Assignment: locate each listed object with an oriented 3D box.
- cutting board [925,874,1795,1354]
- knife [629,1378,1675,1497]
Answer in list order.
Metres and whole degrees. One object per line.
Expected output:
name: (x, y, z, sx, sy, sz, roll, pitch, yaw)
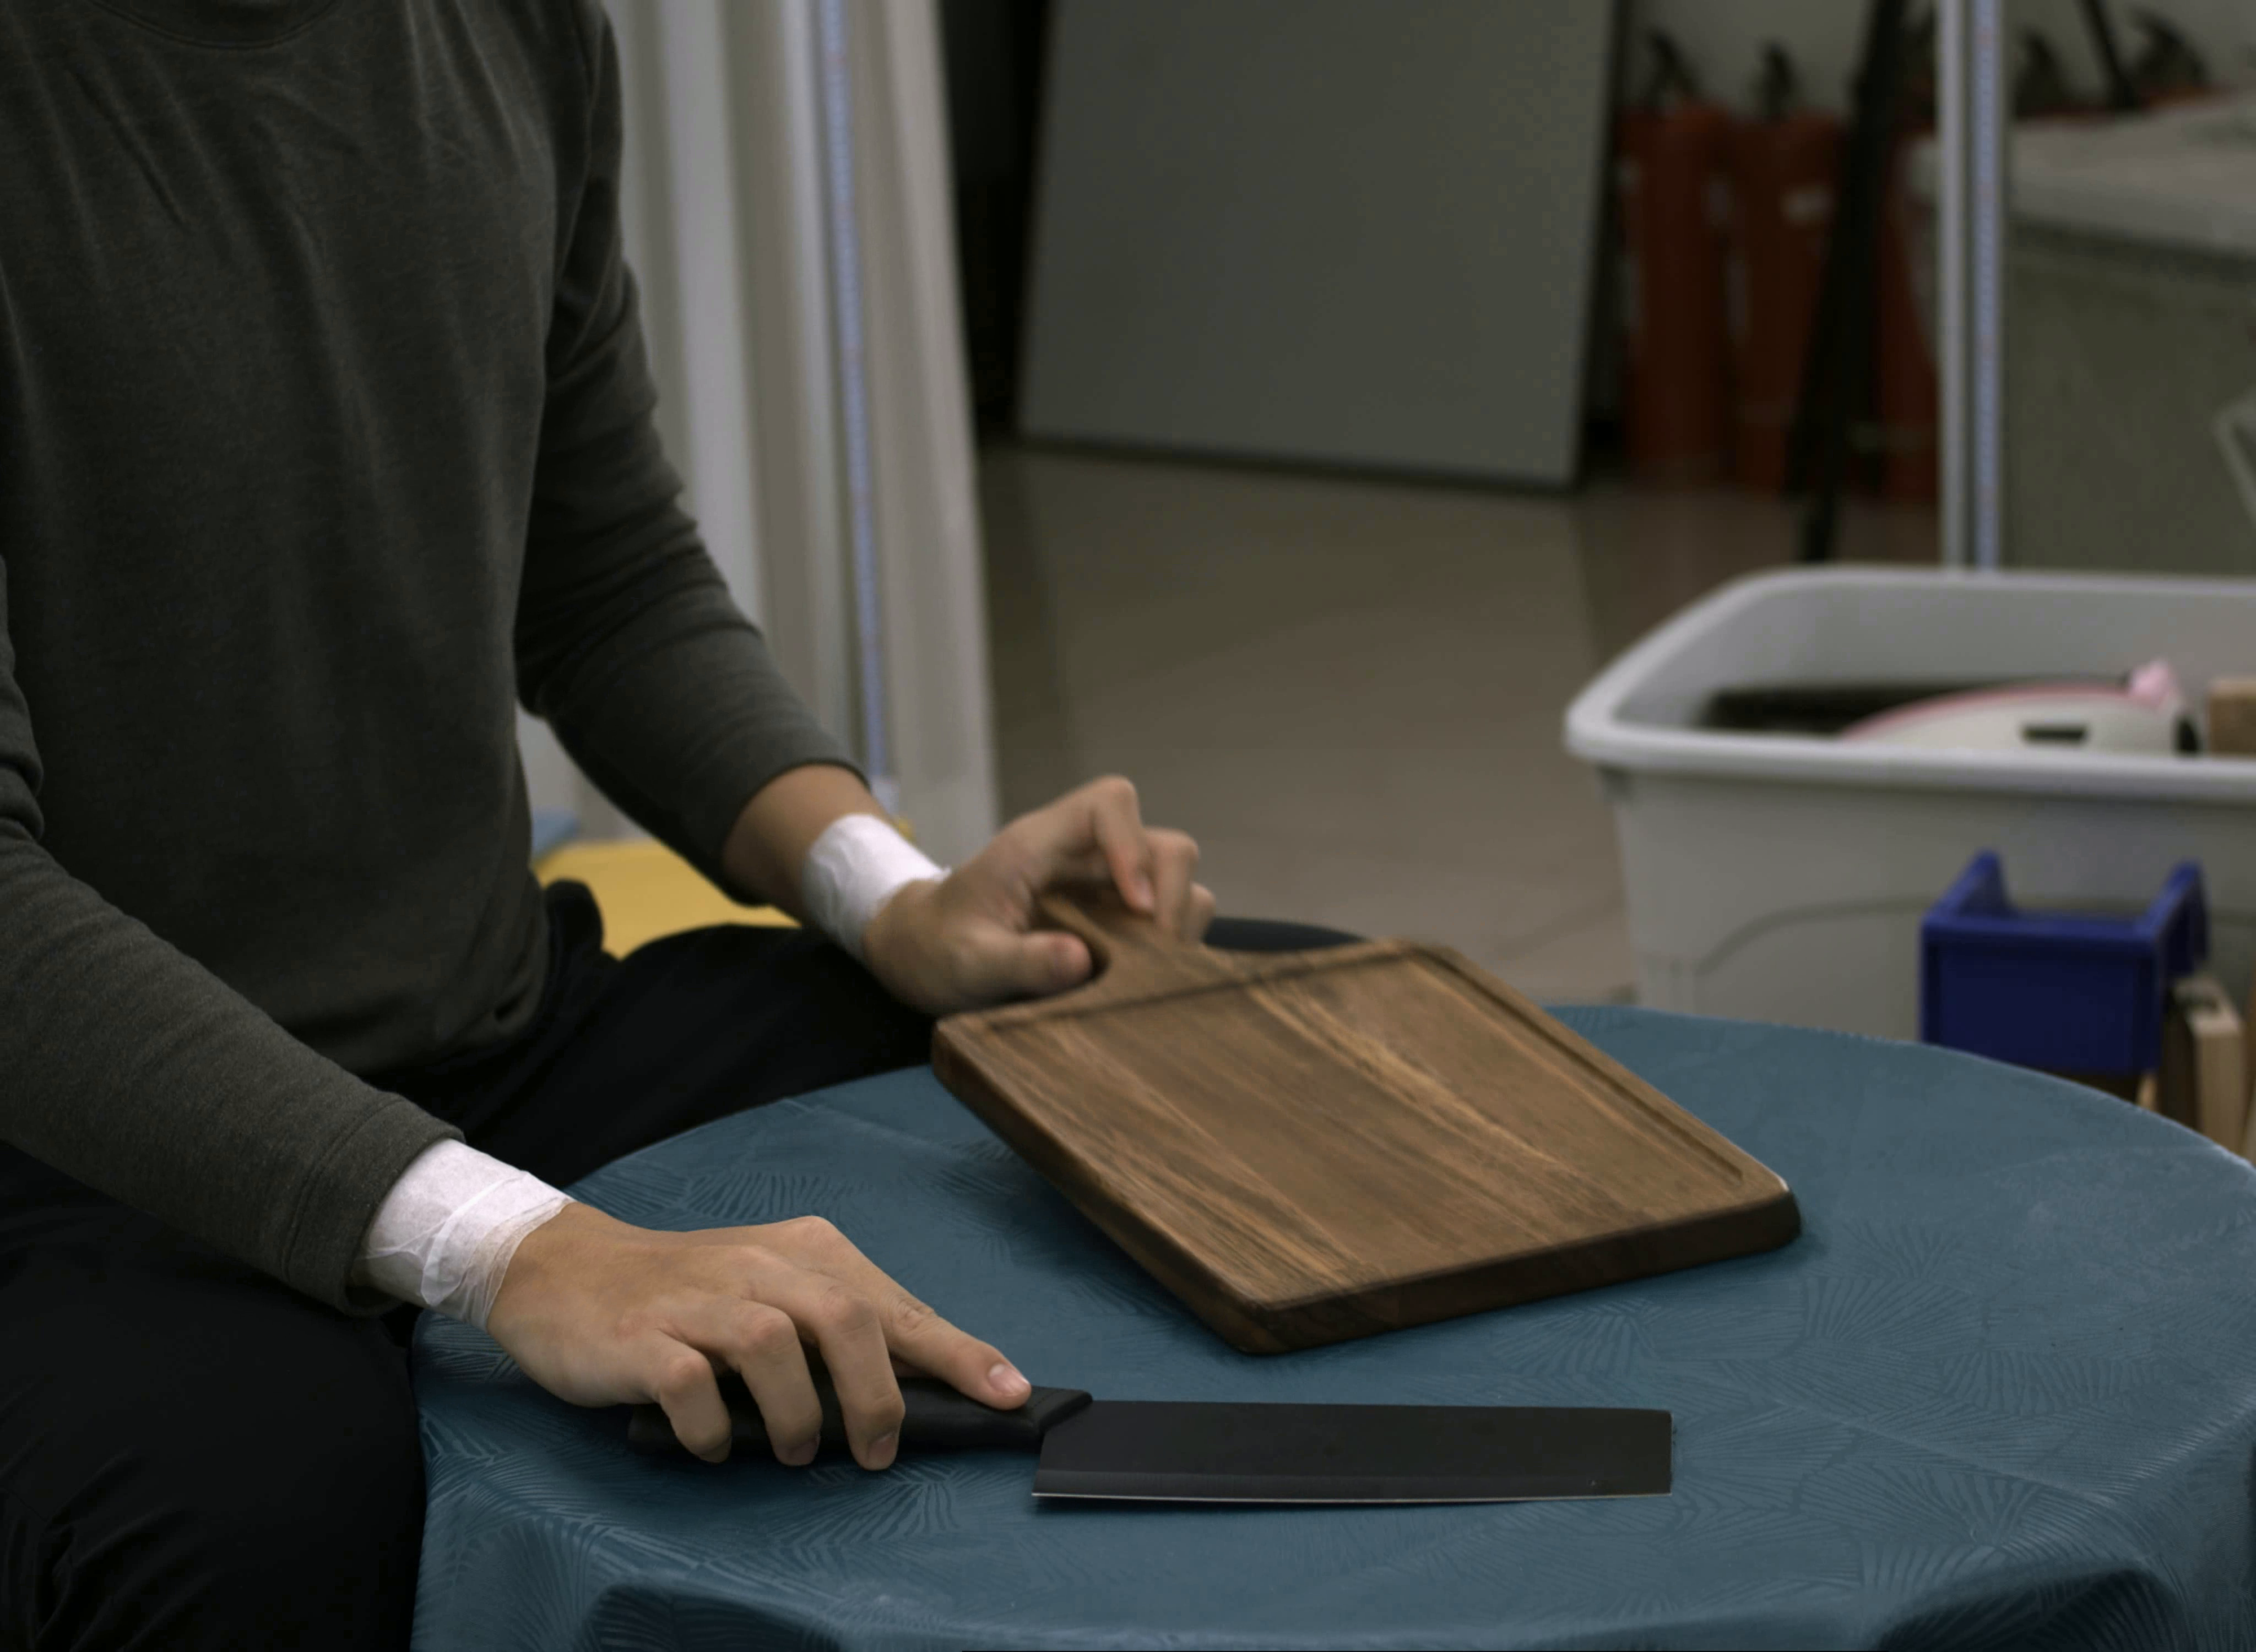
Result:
cutting board: (0.050, 0.081, 1.787, 0.197, 0.023, 0.356, -10, 22, -23)
knife: (0.007, 0.174, 1.525, 0.300, 0.021, 0.080, 0, 16, 11)
